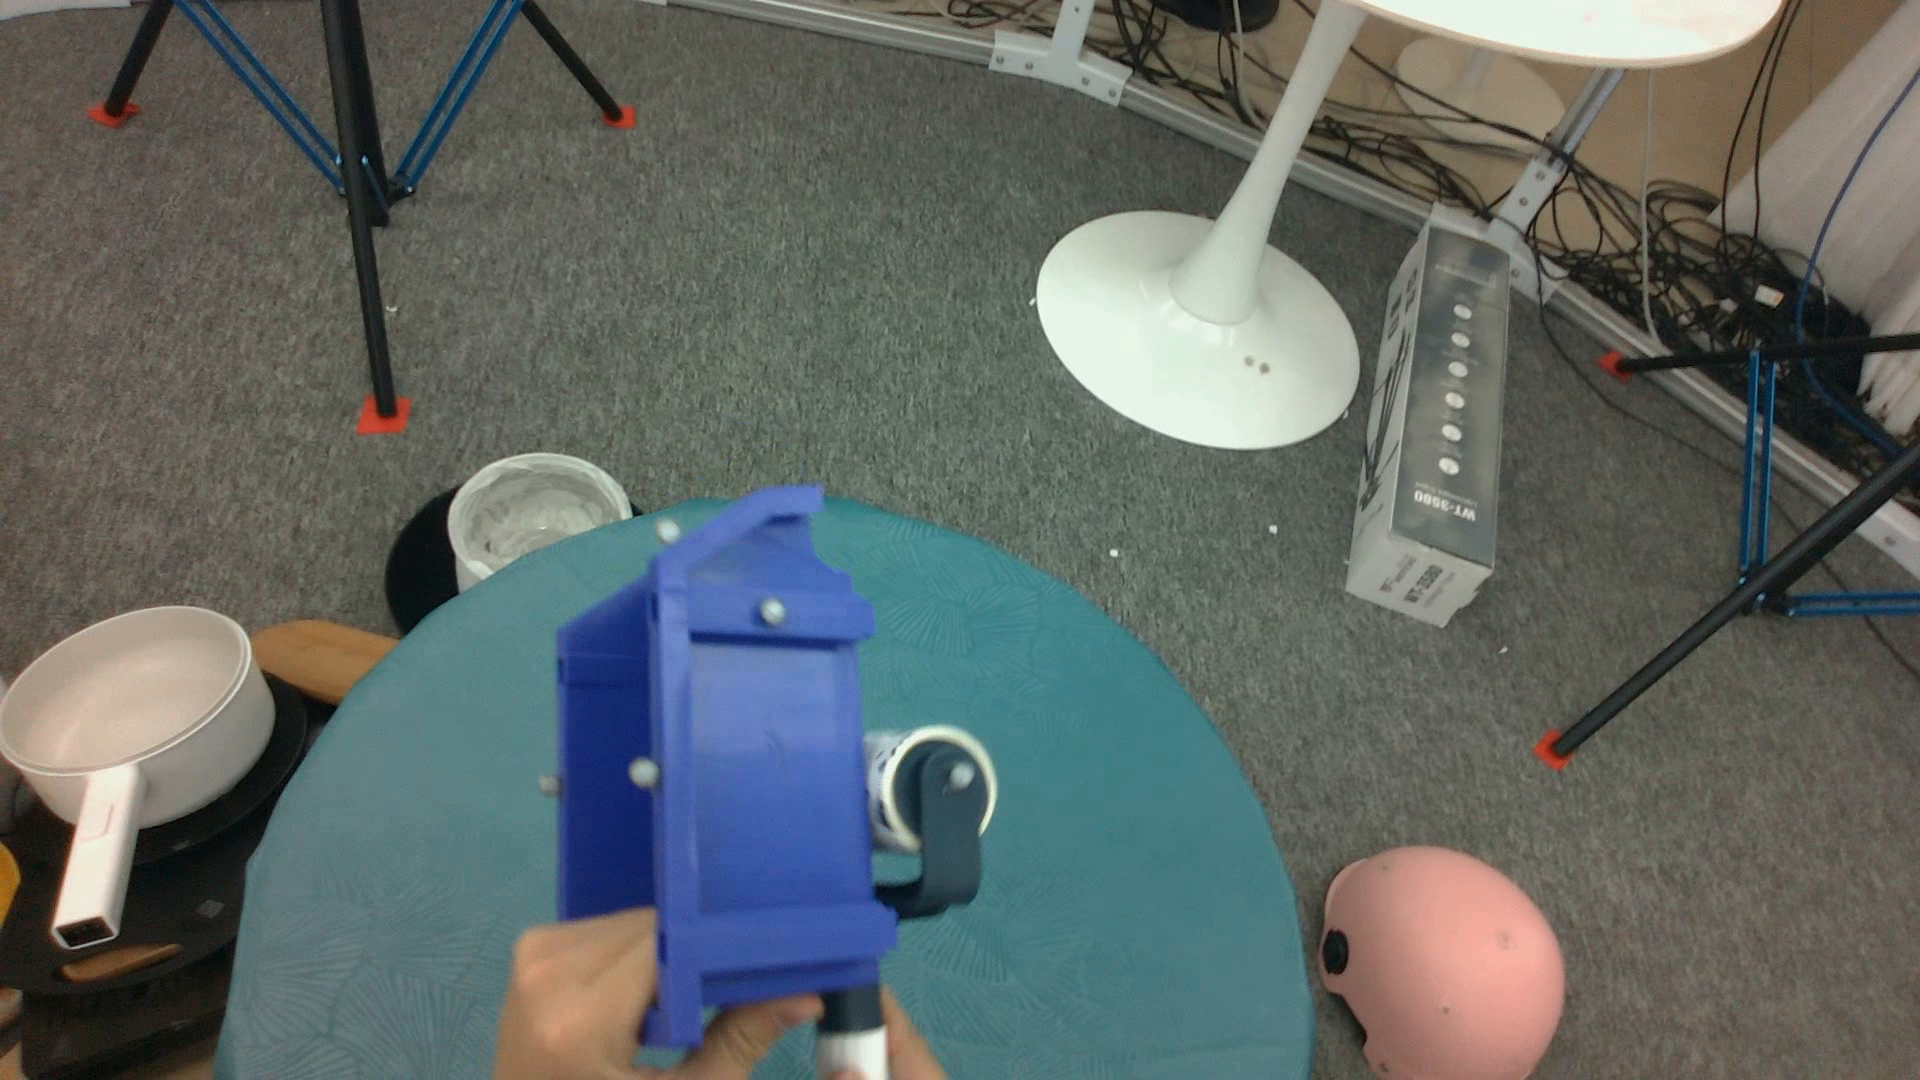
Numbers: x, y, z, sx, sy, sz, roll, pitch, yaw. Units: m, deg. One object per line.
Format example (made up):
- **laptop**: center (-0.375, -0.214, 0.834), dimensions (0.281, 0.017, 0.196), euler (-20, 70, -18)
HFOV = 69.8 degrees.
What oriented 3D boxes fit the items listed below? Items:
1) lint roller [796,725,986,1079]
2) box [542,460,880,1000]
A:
- **lint roller**: center (-0.048, 0.200, 0.542), dimensions (0.050, 0.175, 0.247), euler (2, 80, -34)
- **box**: center (-0.099, 0.071, 0.511), dimensions (0.082, 0.124, 0.180), euler (3, 73, -33)
